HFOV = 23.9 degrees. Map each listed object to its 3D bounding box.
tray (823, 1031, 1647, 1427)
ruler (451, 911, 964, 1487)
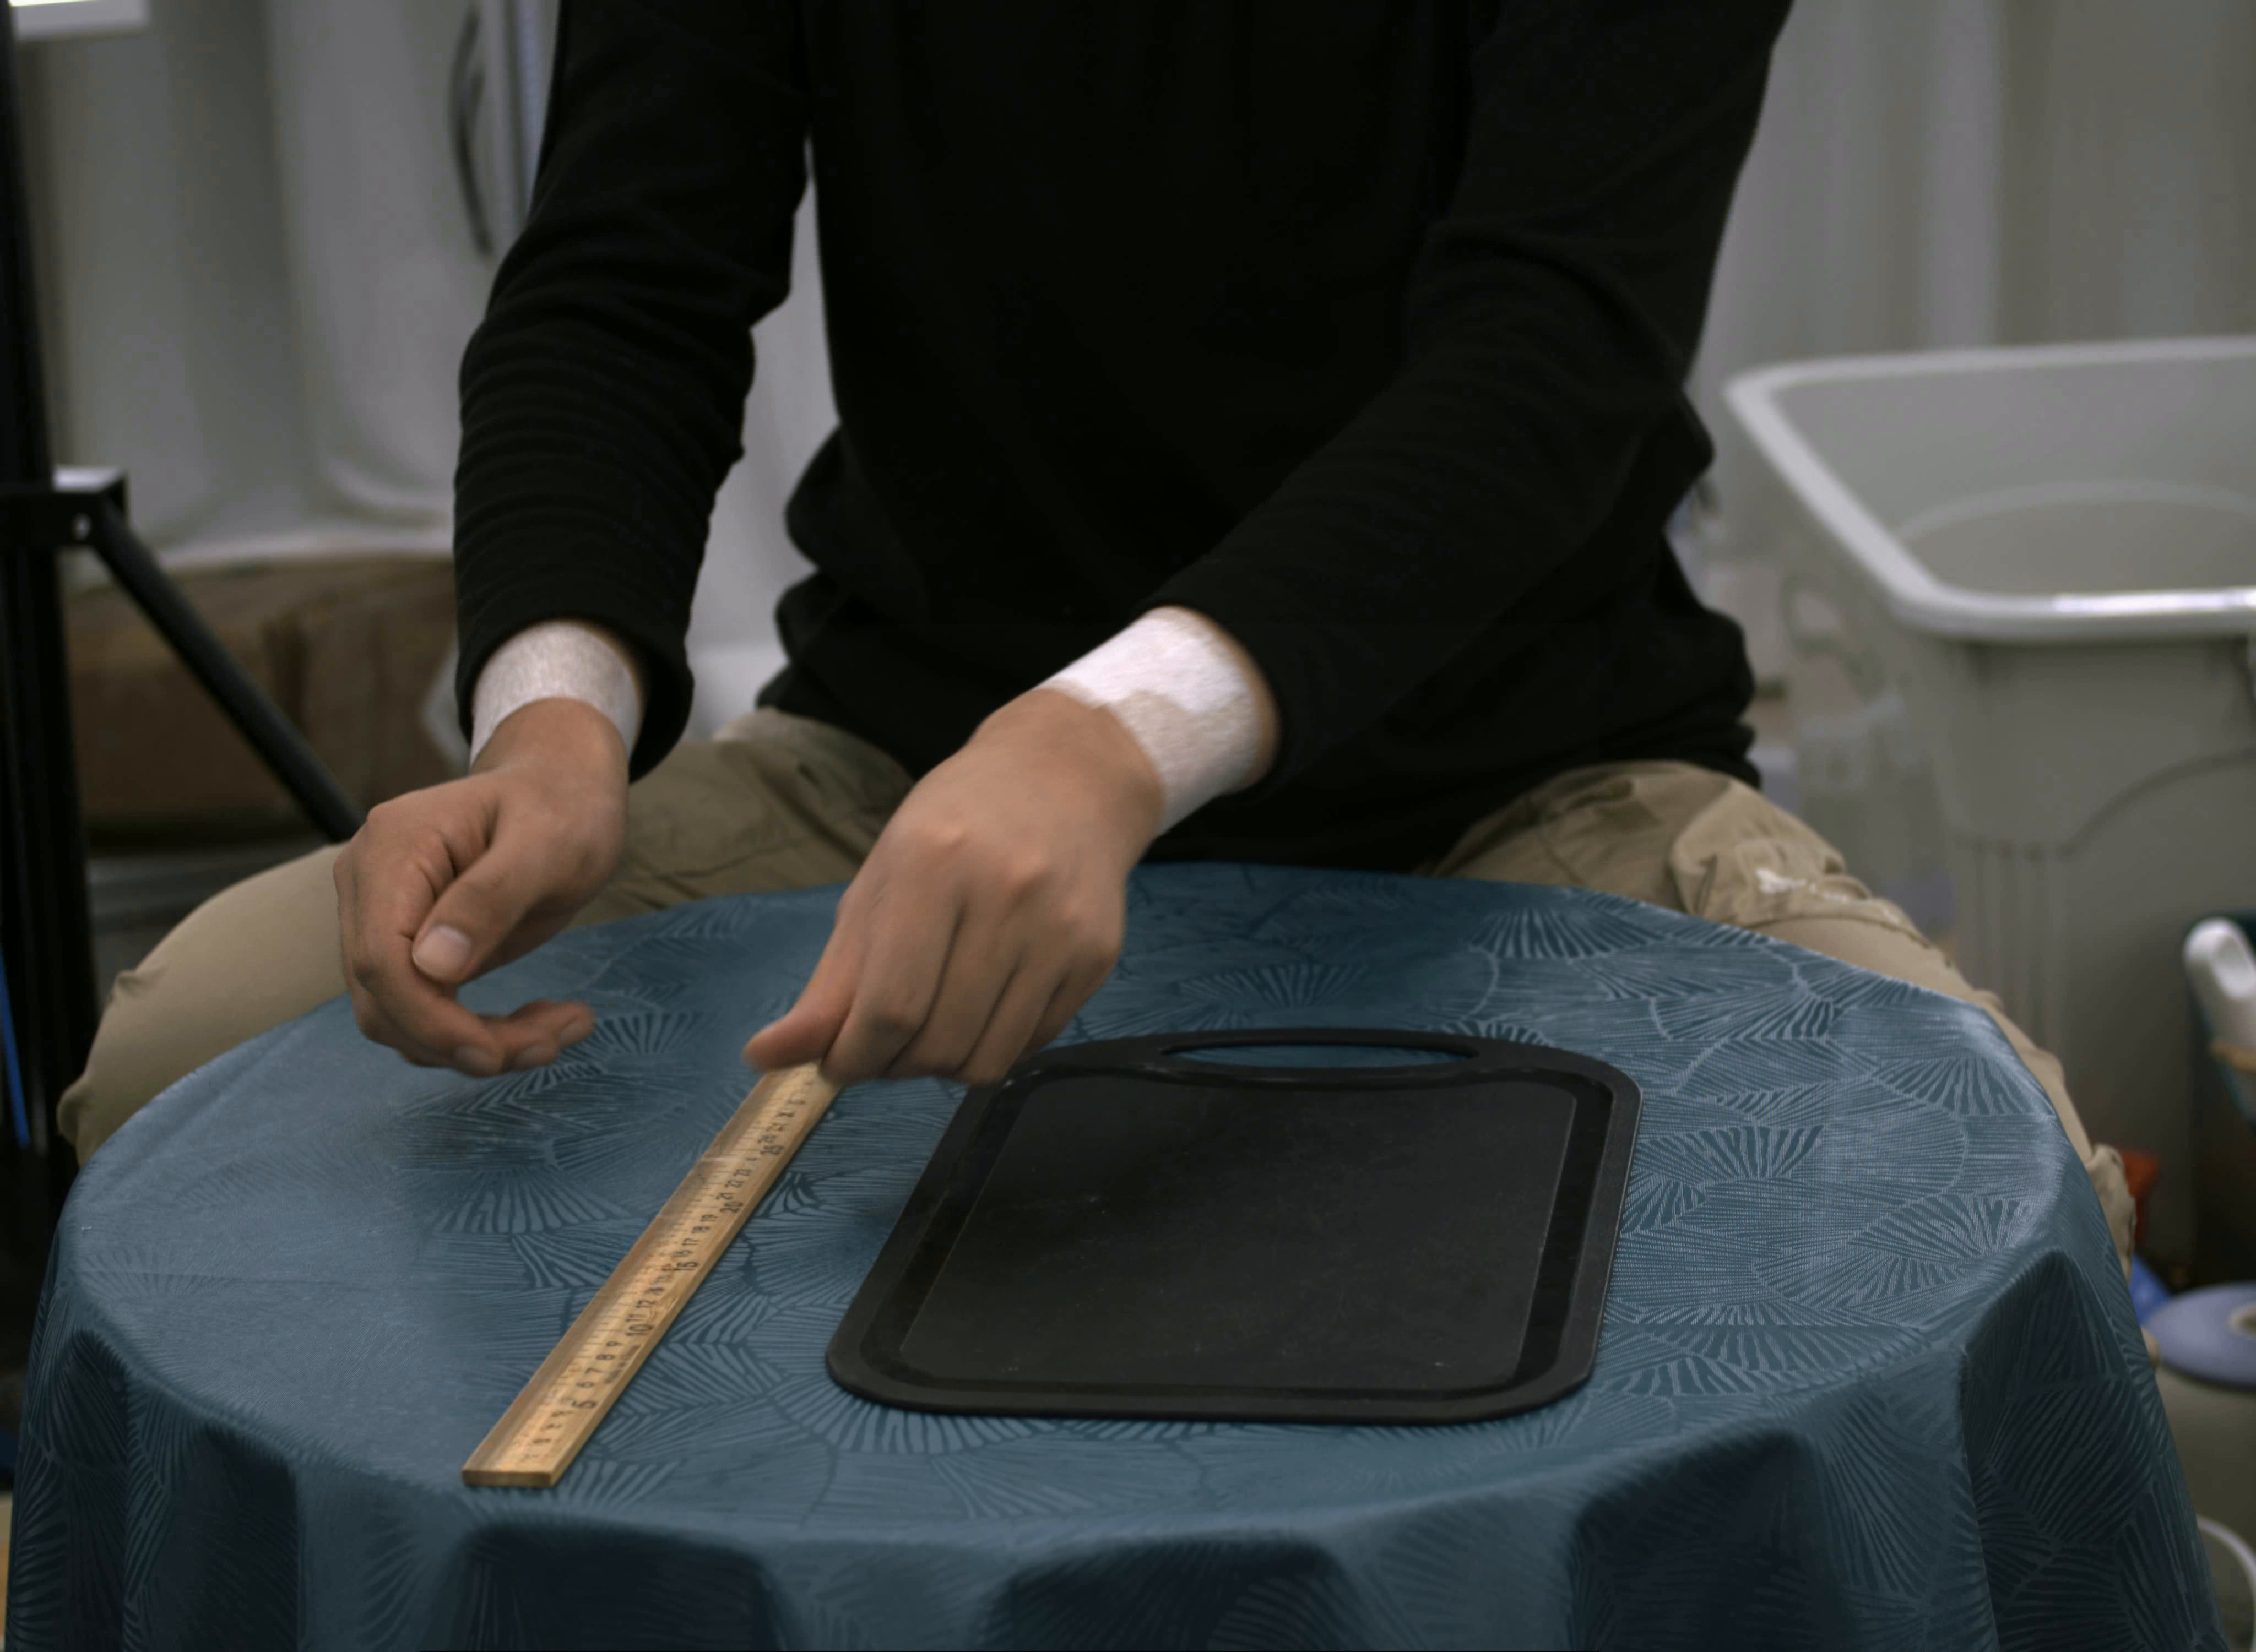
[{"bbox_3d":[0.039,0.109,1.535,0.212,0.010,0.324,0,16,10],"label":"tray"},{"bbox_3d":[-0.114,0.099,1.597,0.027,0.006,0.498,3,16,11],"label":"ruler"}]
